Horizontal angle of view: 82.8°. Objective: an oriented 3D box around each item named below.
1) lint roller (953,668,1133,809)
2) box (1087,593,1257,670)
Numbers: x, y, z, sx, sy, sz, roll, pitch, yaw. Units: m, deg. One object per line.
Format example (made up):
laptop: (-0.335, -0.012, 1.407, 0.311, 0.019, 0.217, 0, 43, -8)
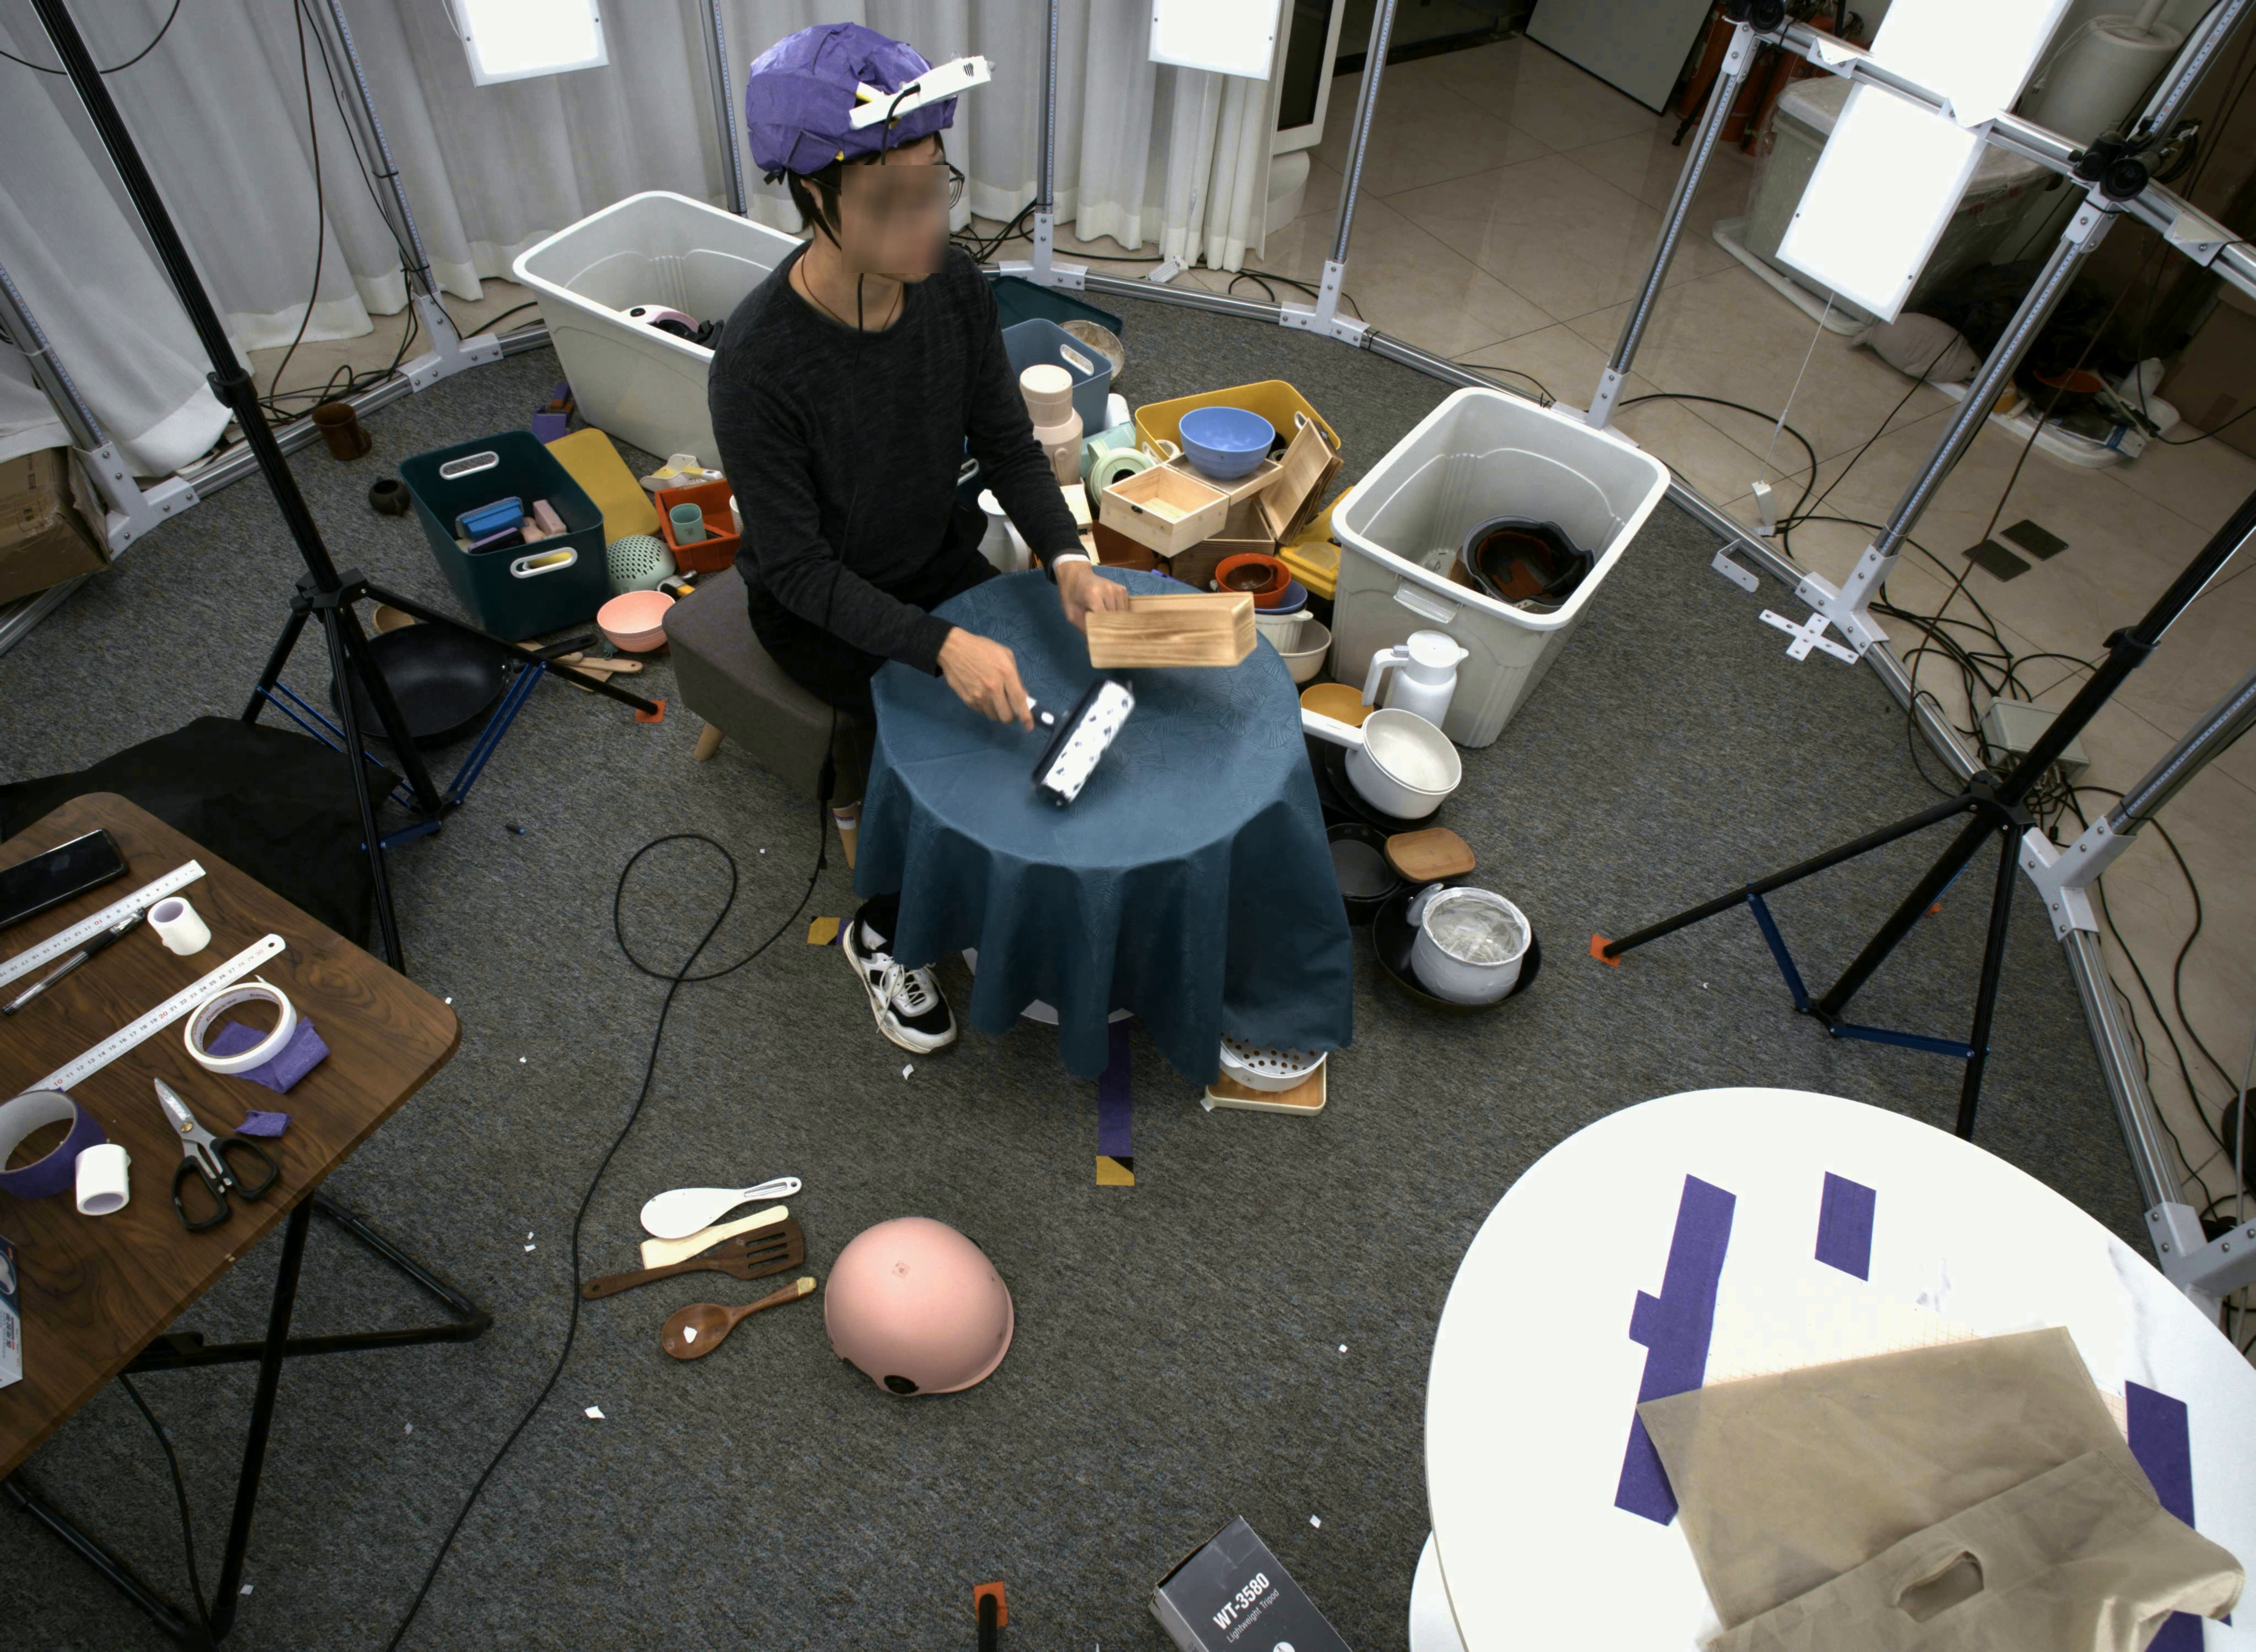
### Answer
lint roller: (-0.138, -0.150, 1.719, 0.249, 0.049, 0.178, 30, 76, 18)
box: (0.063, -0.271, 1.793, 0.212, 0.079, 0.109, 2, 23, 20)
